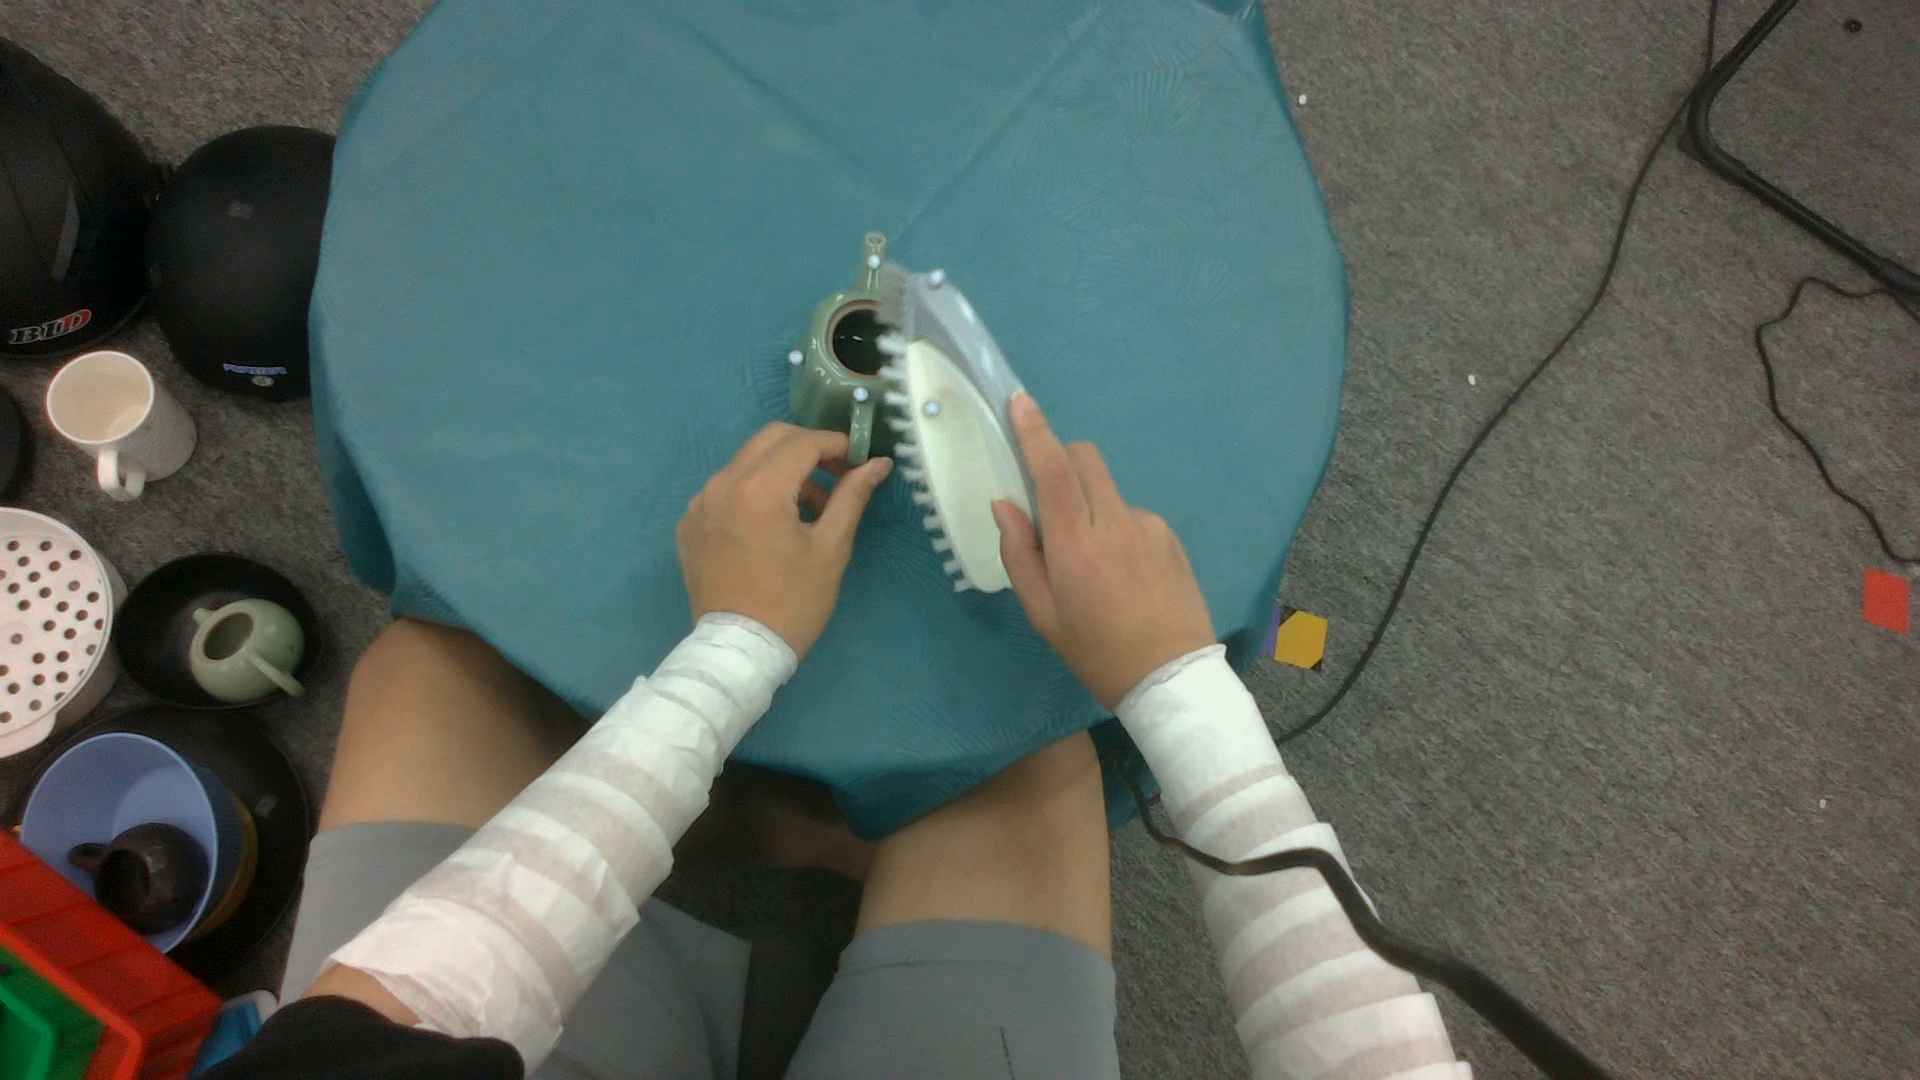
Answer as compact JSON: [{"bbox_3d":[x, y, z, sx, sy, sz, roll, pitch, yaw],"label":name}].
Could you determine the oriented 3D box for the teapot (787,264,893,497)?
[{"bbox_3d":[-0.055,-0.081,0.766,0.080,0.075,0.133,6,72,-4],"label":"teapot"}]

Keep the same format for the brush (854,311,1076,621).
[{"bbox_3d":[0.005,-0.042,0.704,0.062,0.094,0.175,-33,106,-30],"label":"brush"}]
